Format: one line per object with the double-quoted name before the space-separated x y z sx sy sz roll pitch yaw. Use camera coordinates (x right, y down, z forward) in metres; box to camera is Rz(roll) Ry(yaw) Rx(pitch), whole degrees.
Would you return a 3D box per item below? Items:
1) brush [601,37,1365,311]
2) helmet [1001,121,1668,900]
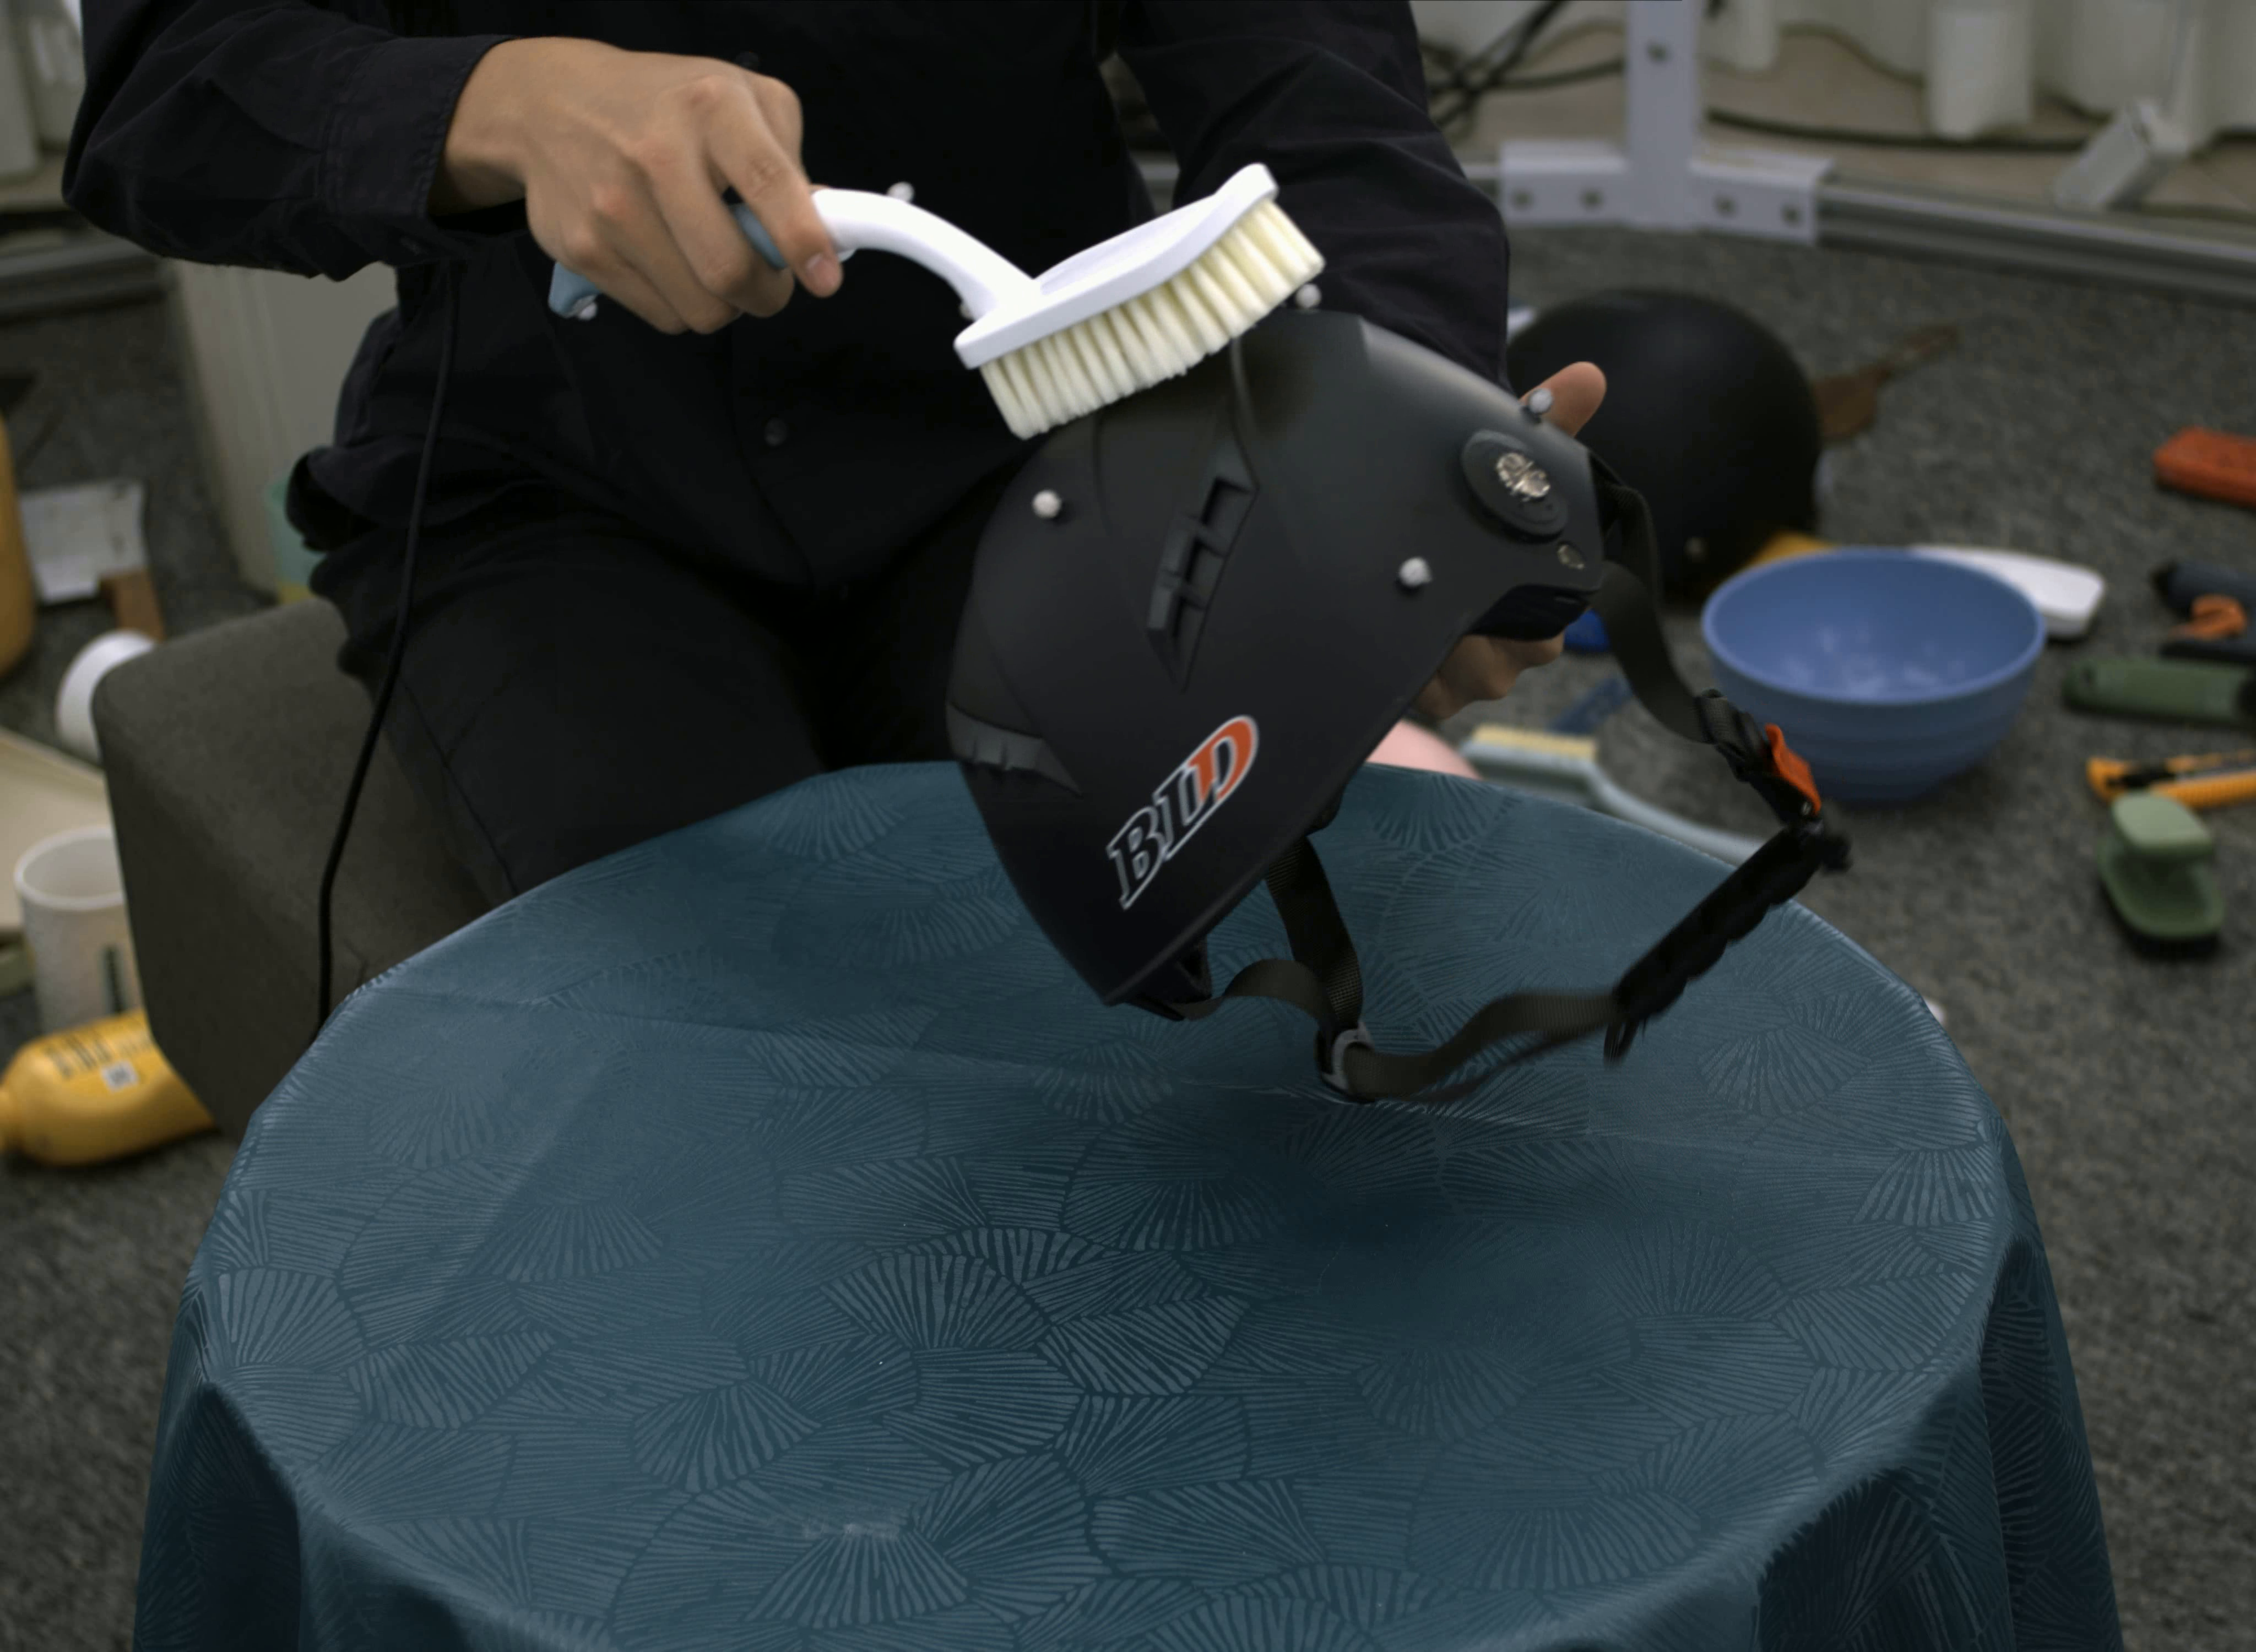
"brush" -0.047 -0.204 1.861 0.322 0.085 0.083 -2 -10 42
"helmet" 0.052 -0.111 1.822 0.172 0.243 0.281 40 27 -2
